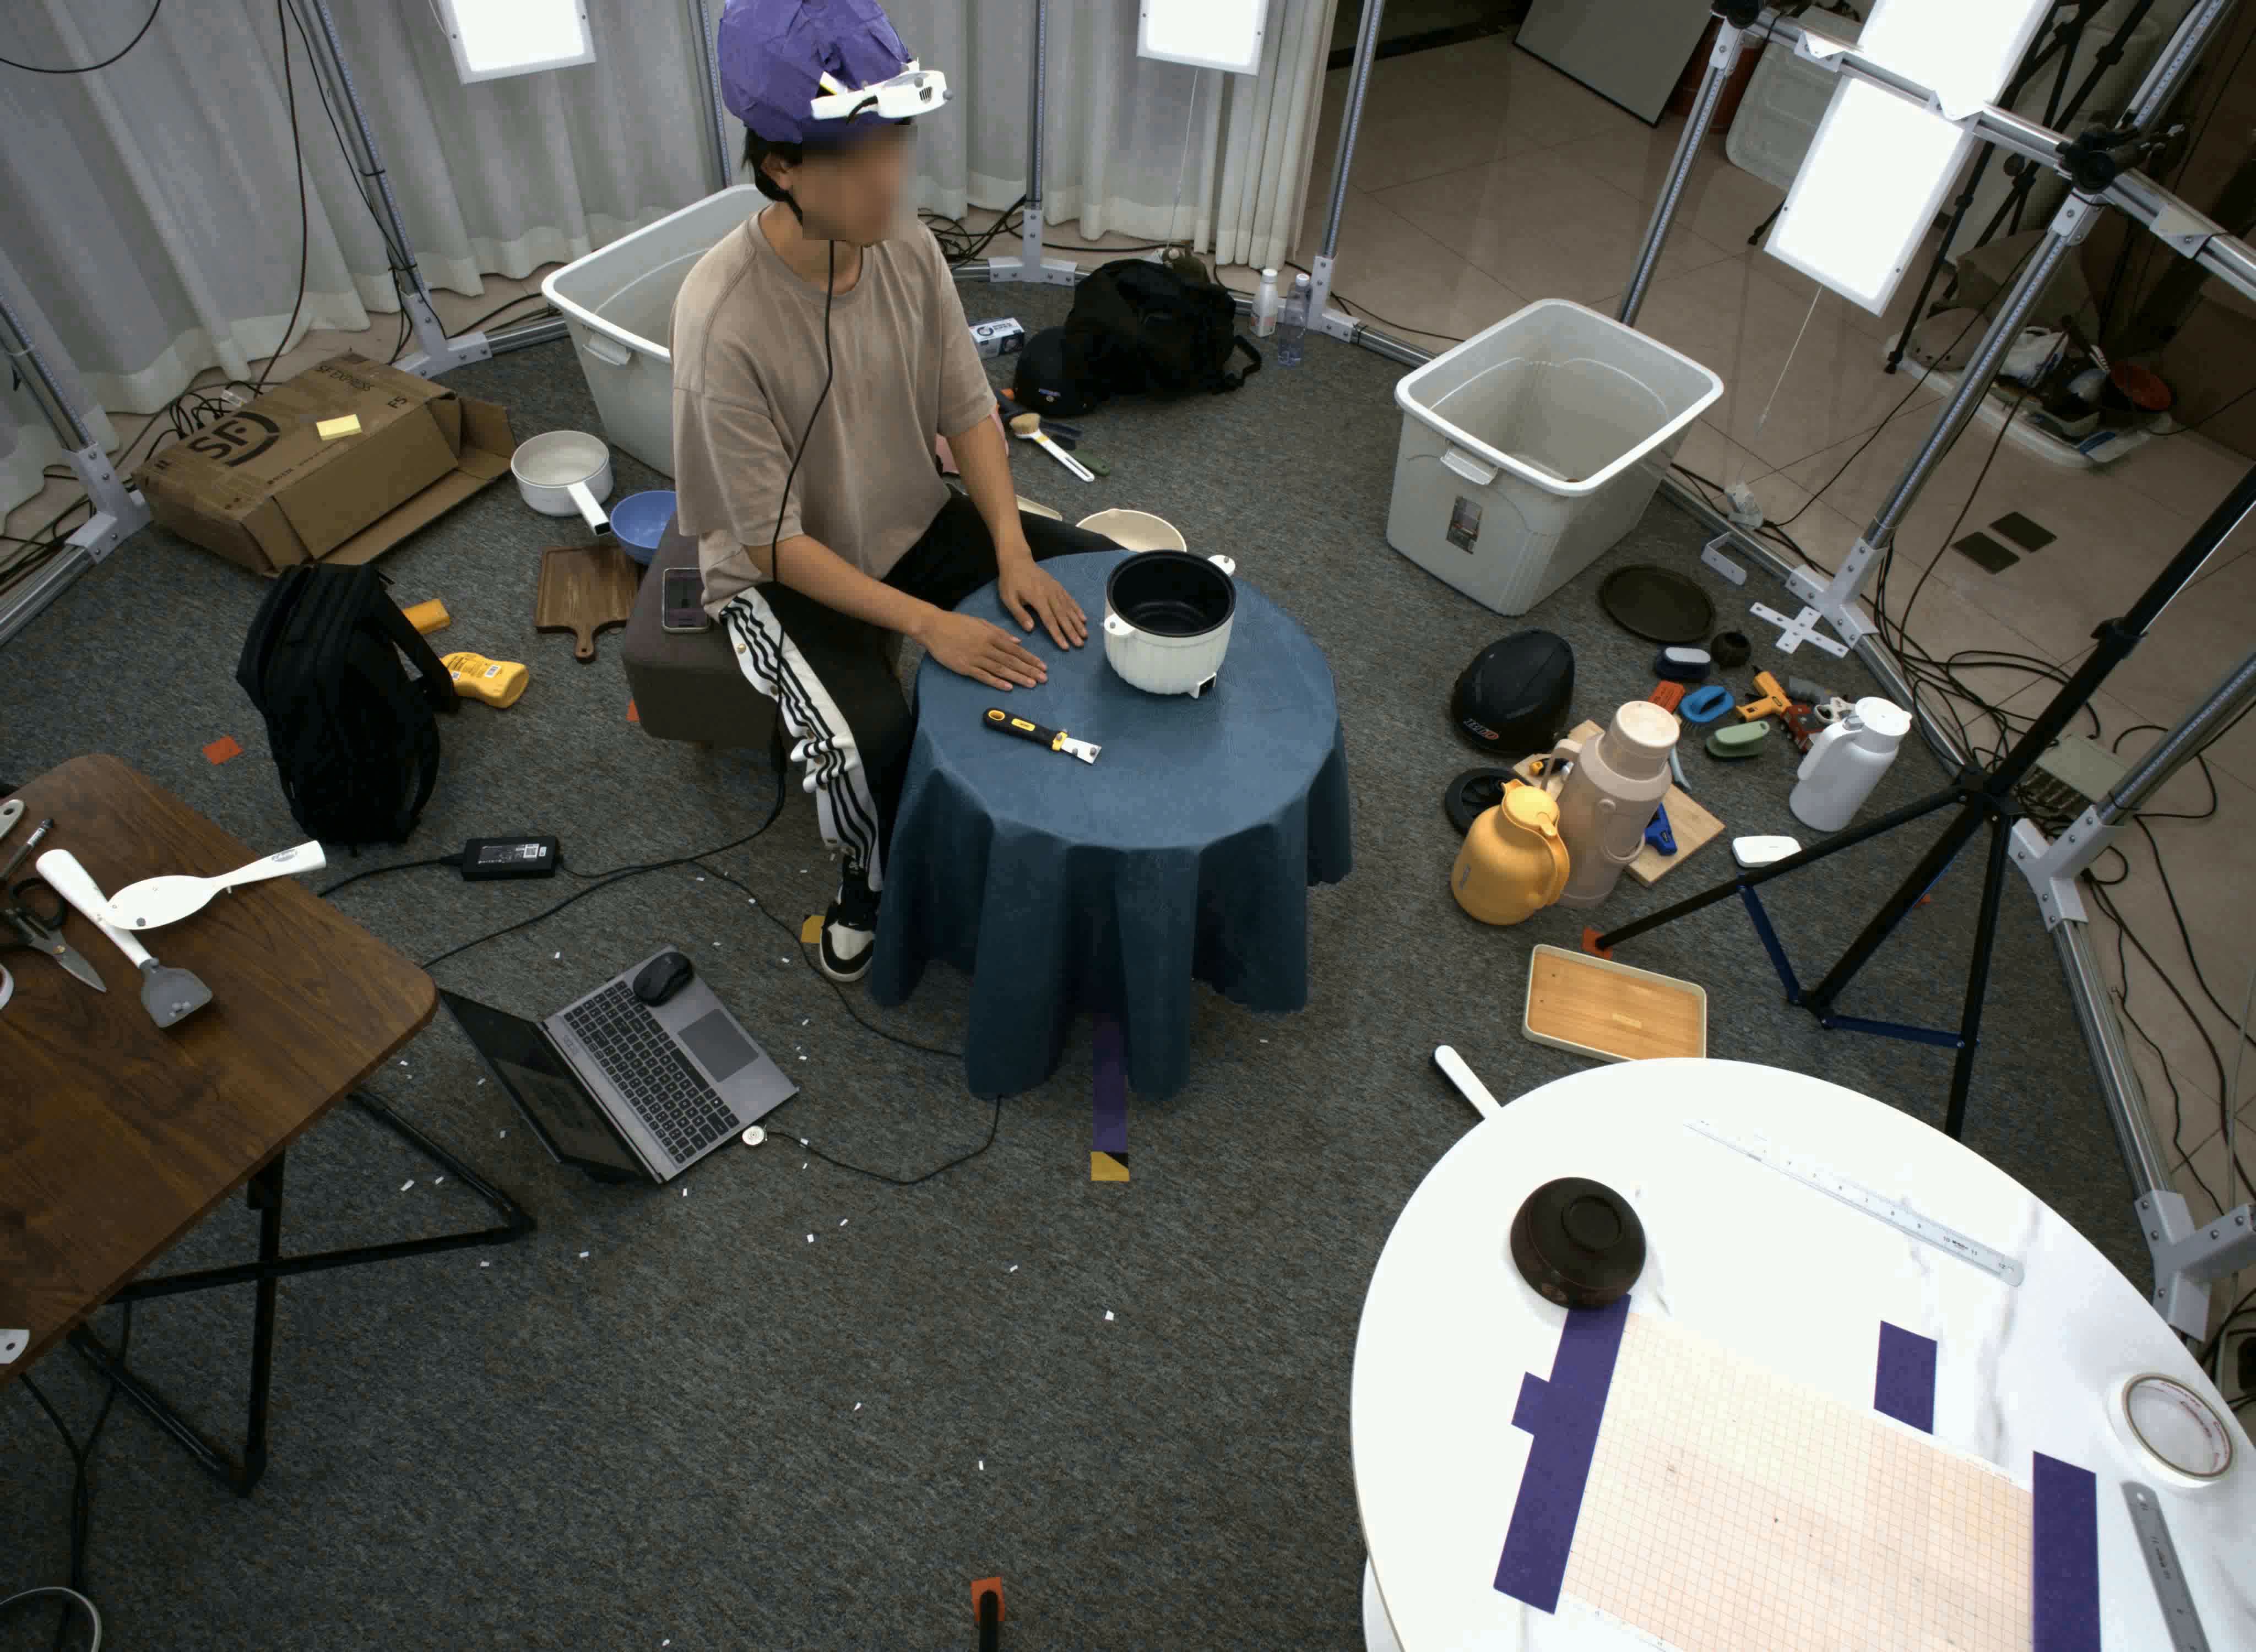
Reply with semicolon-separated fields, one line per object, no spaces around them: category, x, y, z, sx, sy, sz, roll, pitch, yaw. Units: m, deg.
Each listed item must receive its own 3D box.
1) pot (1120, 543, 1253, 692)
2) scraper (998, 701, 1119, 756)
pot;0.072;-0.294;1.827;0.242;0.139;0.193;-34;63;-32
scraper;-0.097;-0.134;1.749;0.171;0.014;0.039;19;55;9
